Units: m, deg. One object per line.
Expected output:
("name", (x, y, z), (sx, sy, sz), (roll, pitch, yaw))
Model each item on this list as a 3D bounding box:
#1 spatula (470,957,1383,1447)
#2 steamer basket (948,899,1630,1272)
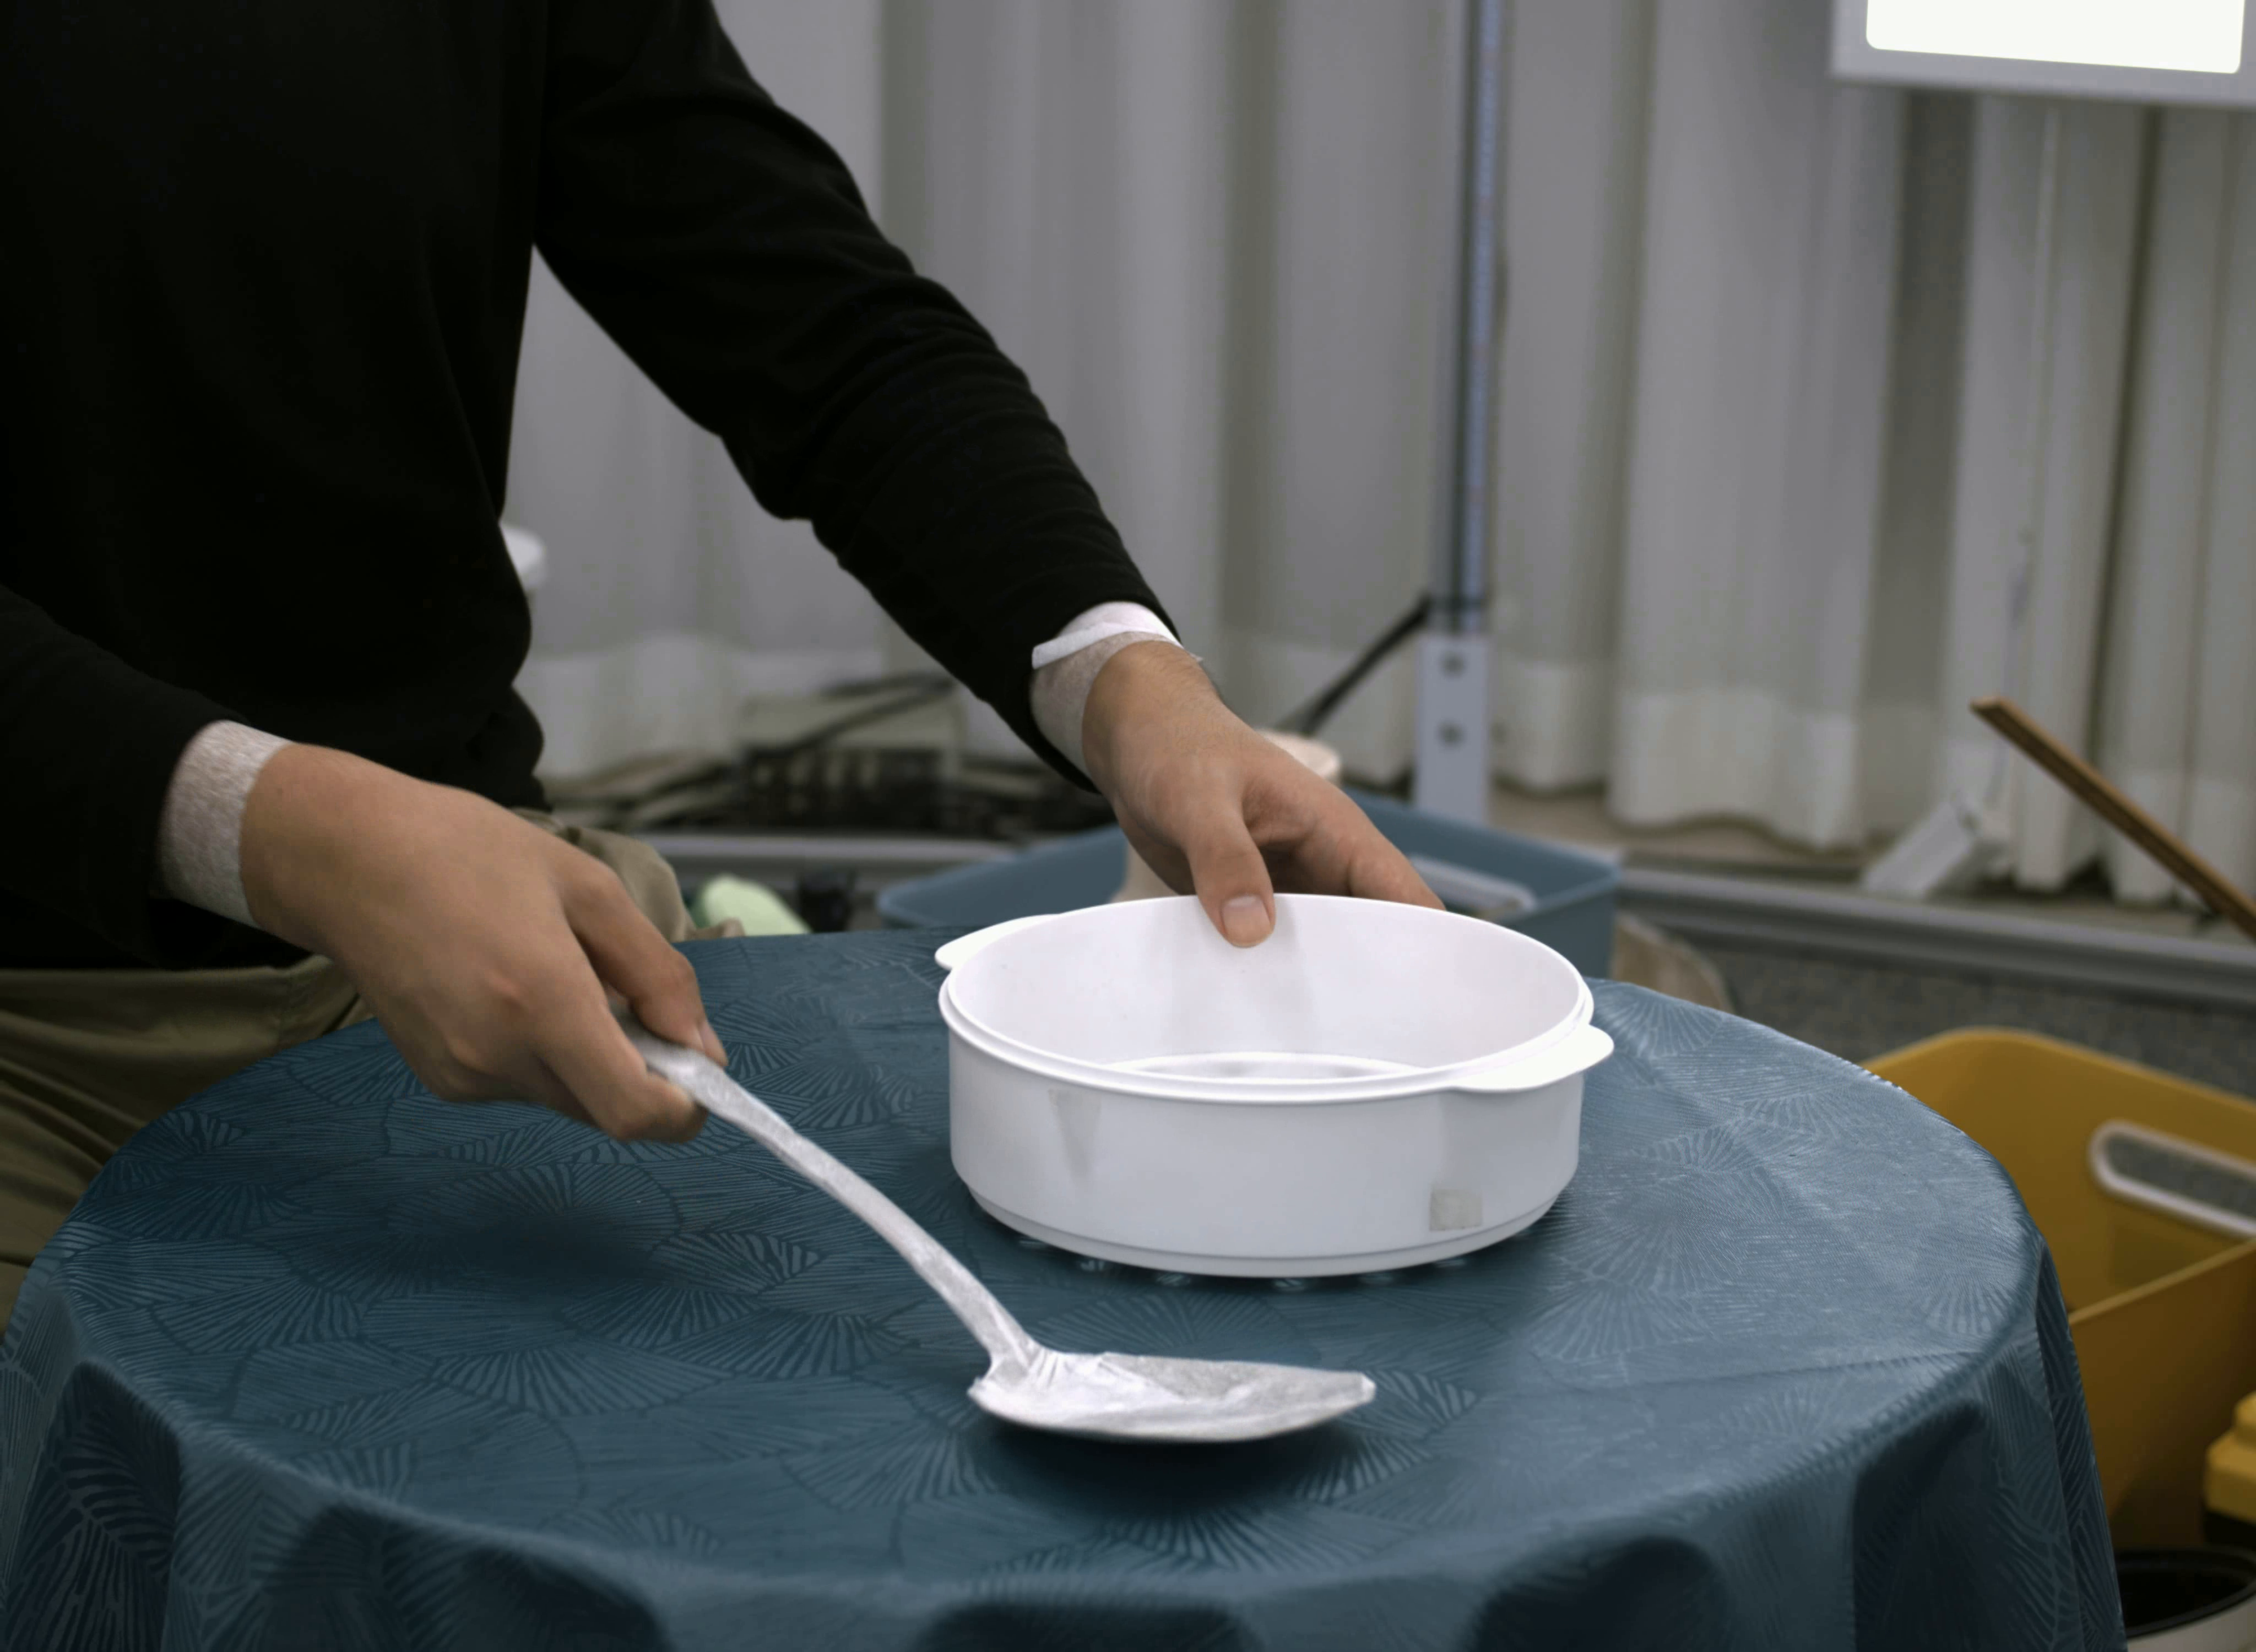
("spatula", (-0.080, 0.099, 1.501), (0.099, 0.045, 0.360), (-11, 33, -44))
("steamer basket", (0.046, 0.079, 1.611), (0.227, 0.070, 0.203), (11, 18, 36))
